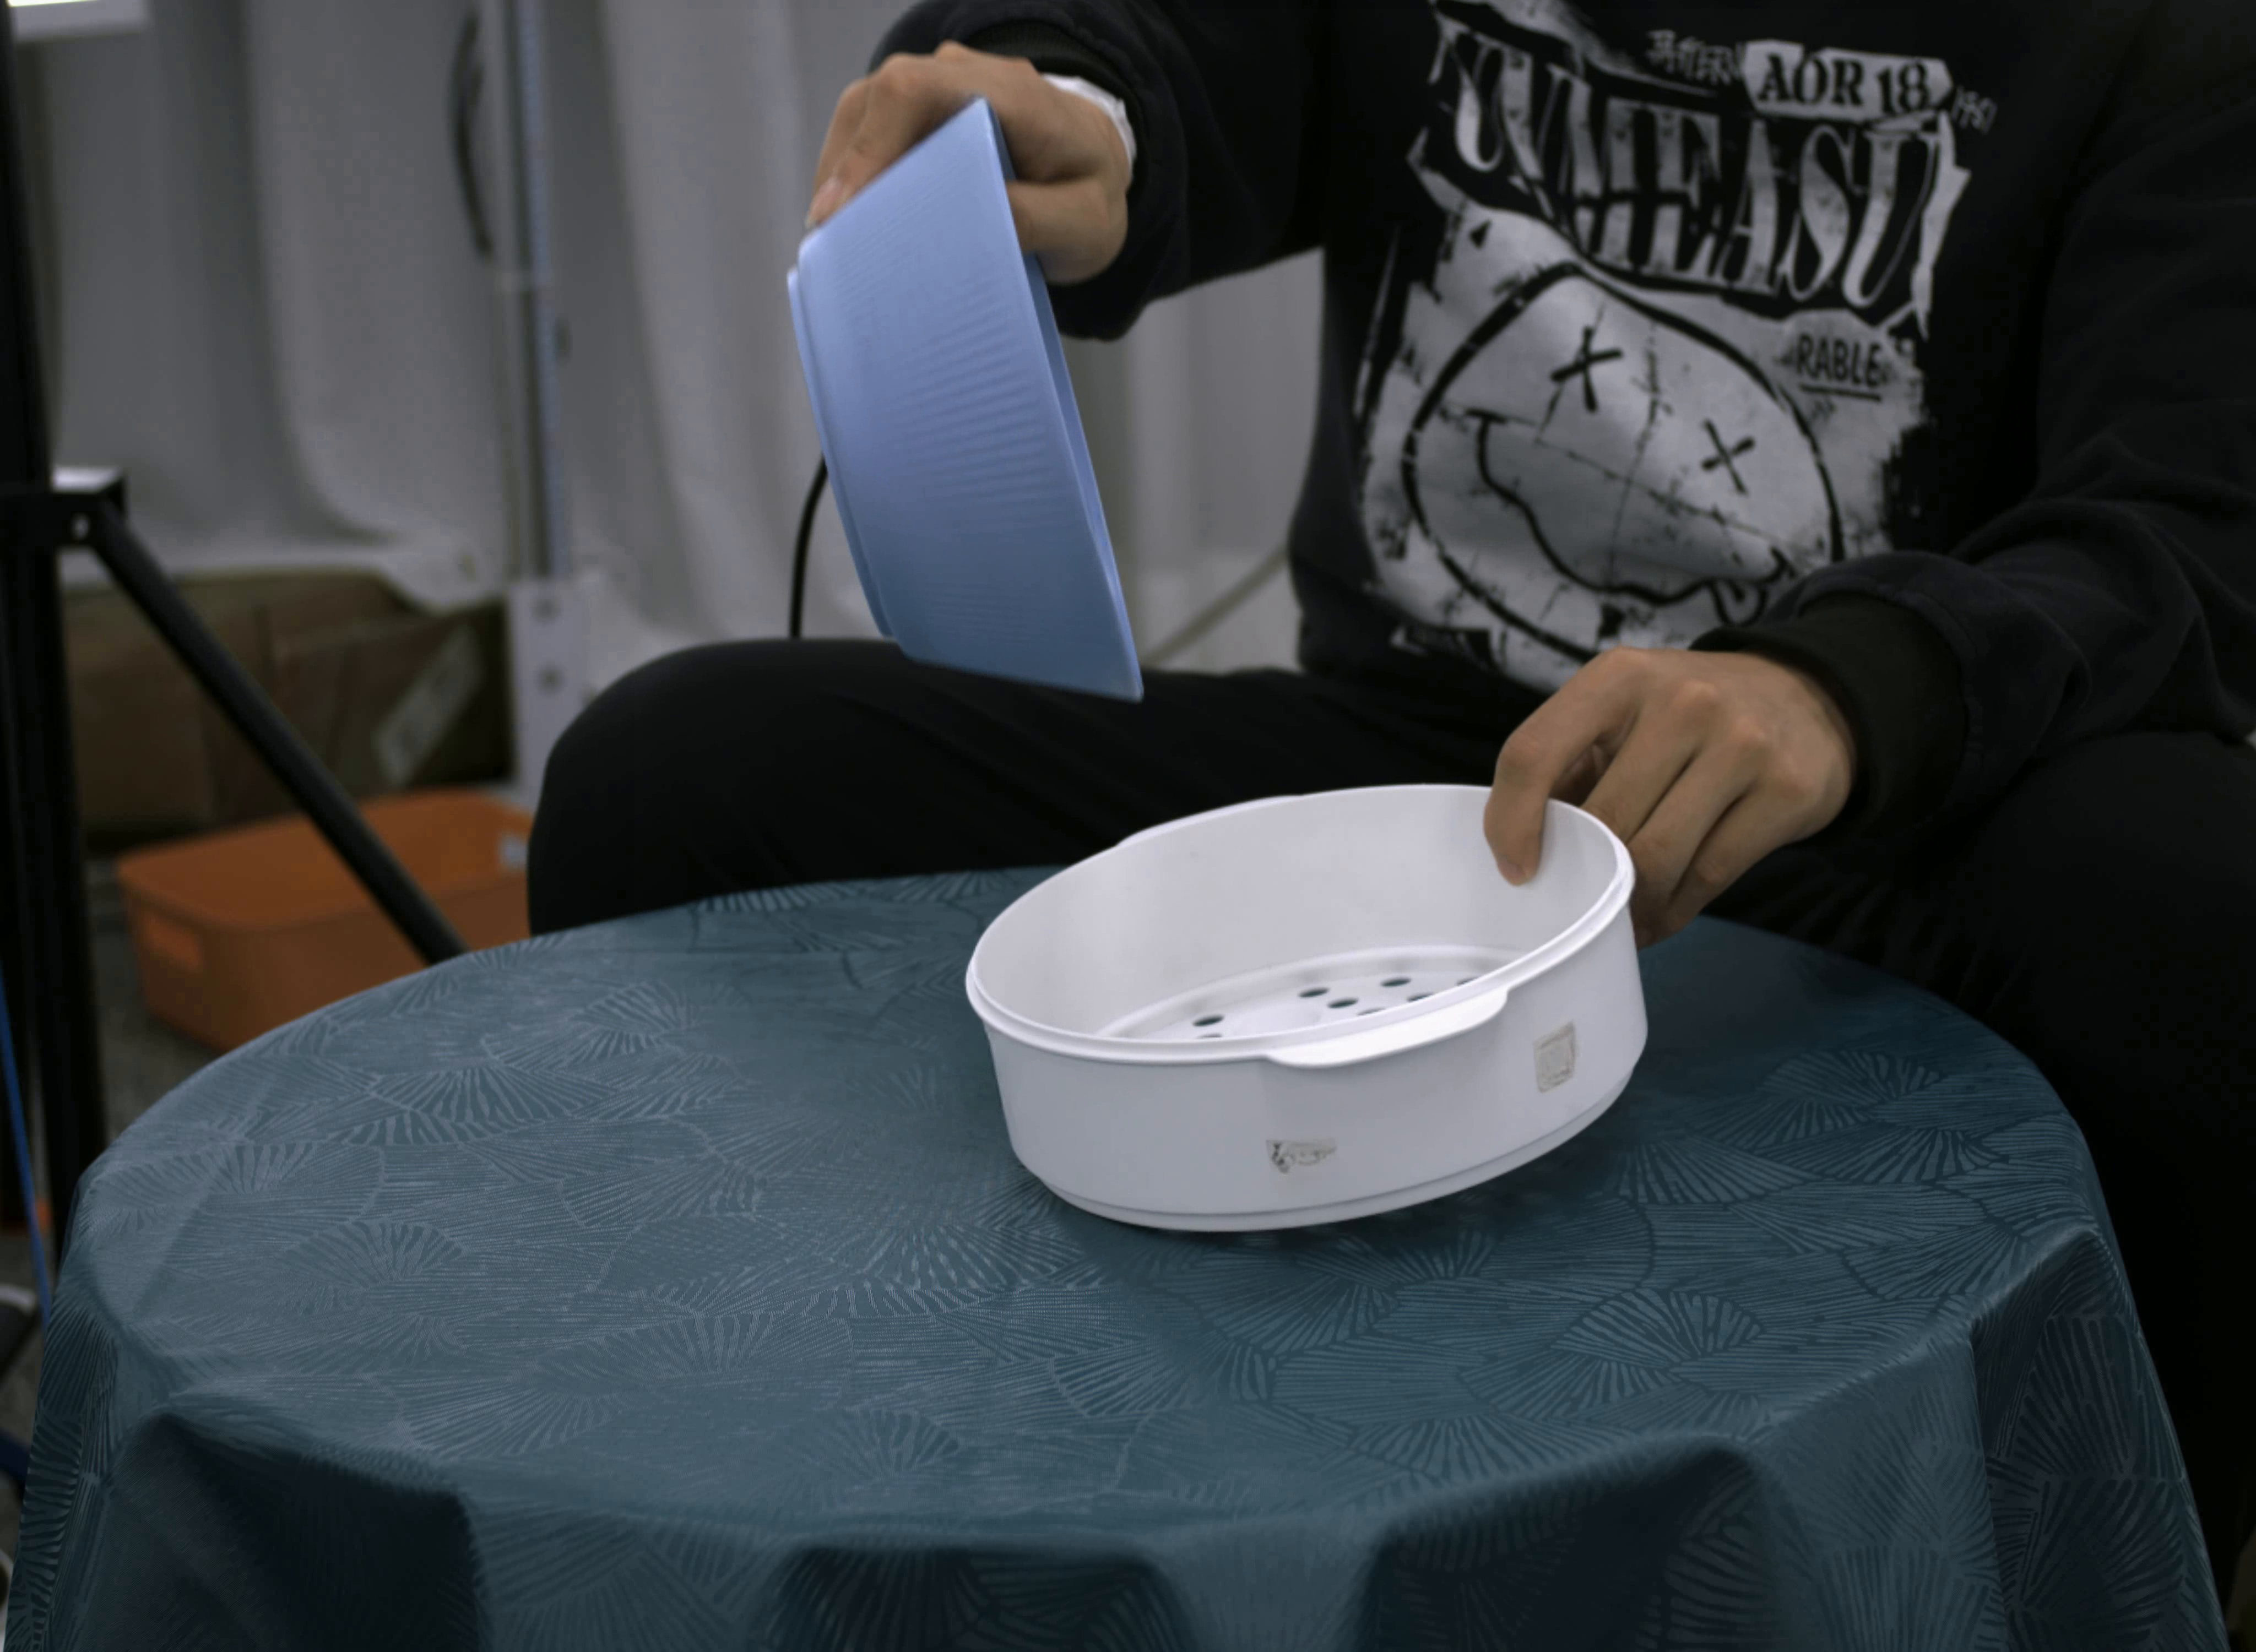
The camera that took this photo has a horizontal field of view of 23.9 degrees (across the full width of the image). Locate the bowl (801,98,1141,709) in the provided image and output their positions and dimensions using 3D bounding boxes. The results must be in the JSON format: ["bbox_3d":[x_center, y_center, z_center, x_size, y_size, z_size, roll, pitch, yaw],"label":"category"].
[{"bbox_3d":[-0.047,-0.111,1.508,0.070,0.175,0.177,-13,15,4],"label":"bowl"}]

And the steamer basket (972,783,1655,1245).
[{"bbox_3d":[0.058,0.056,1.573,0.200,0.069,0.234,-15,21,-9],"label":"steamer basket"}]
